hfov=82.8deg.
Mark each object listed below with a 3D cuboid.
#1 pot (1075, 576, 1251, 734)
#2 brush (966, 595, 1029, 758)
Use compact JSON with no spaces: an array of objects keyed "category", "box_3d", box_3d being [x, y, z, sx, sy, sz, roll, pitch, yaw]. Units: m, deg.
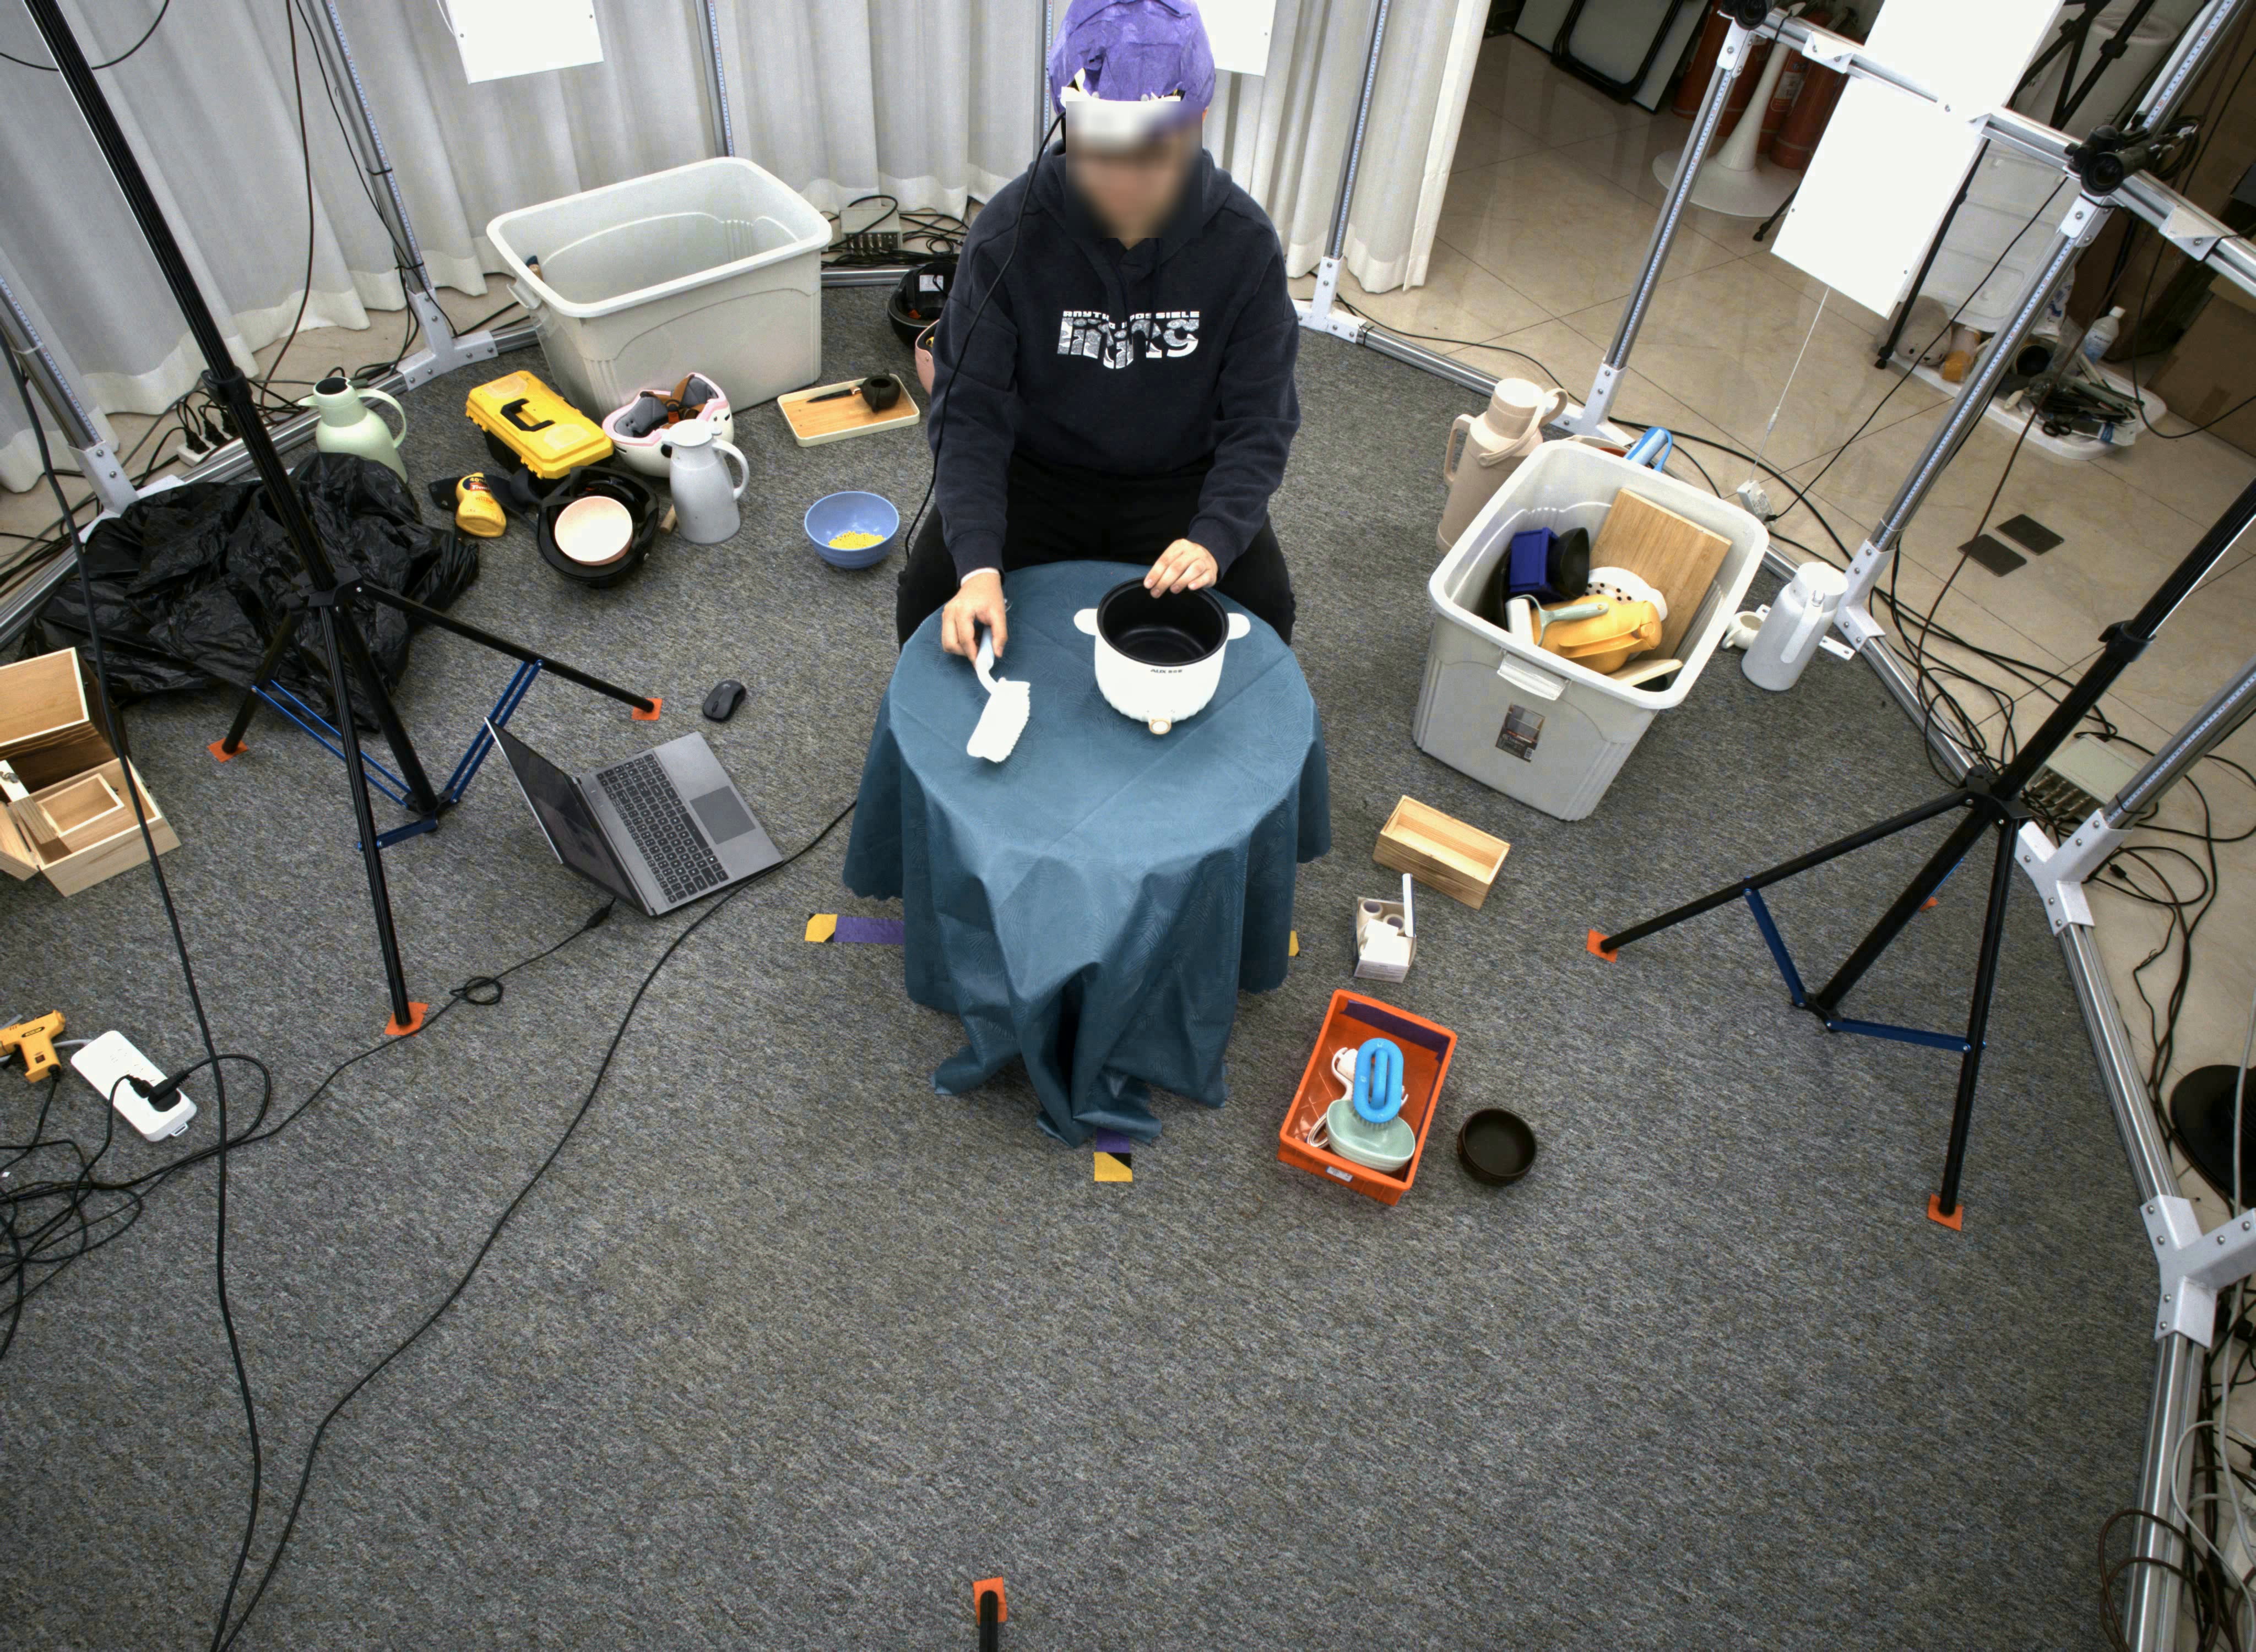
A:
[{"category":"pot","box_3d":[0.045,-0.234,1.783,0.240,0.139,0.195,0,46,-4]},{"category":"brush","box_3d":[-0.163,-0.218,1.795,0.083,0.082,0.333,32,40,-26]}]
